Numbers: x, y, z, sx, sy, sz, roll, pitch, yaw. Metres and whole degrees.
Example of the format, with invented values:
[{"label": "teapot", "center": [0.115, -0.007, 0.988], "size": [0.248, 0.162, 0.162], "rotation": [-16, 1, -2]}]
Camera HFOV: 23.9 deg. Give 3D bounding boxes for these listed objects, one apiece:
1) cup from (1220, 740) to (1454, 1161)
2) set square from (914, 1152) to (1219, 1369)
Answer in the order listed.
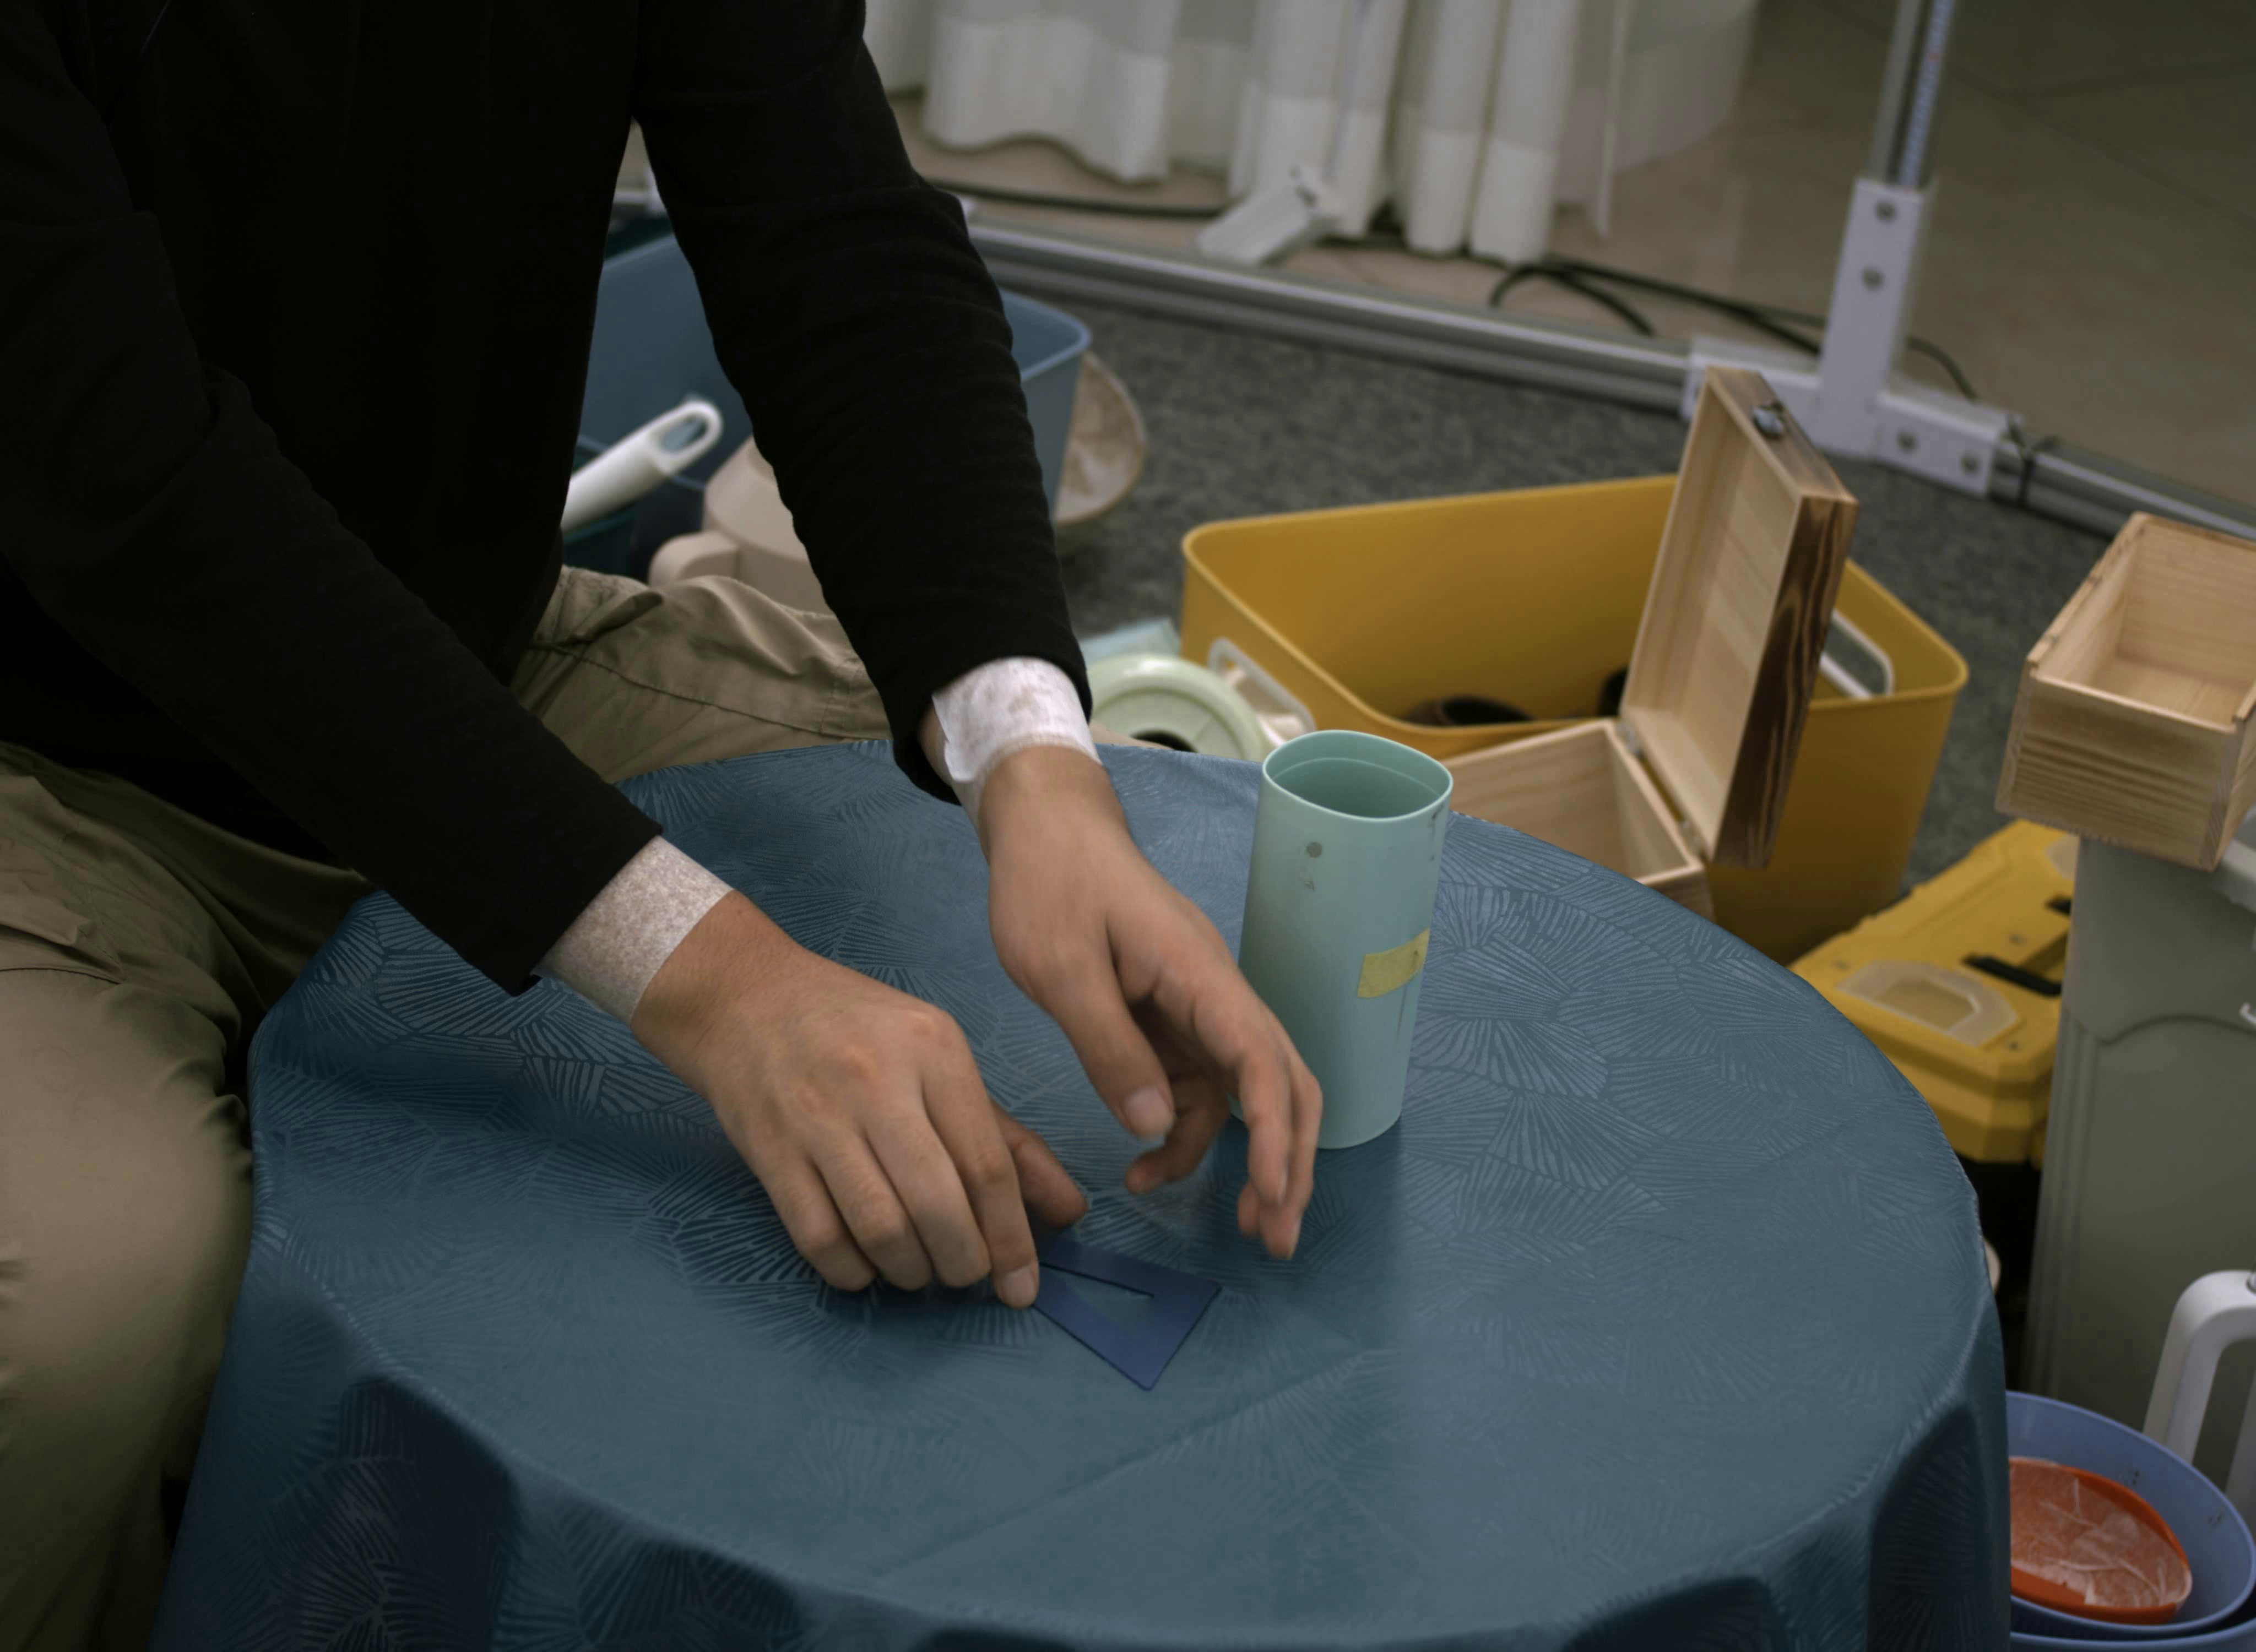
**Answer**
[{"label": "cup", "center": [0.070, 0.042, 1.841], "size": [0.066, 0.132, 0.067], "rotation": [5, 27, -3]}, {"label": "set square", "center": [-0.015, 0.137, 1.763], "size": [0.061, 0.006, 0.133], "rotation": [-15, 36, -32]}]
